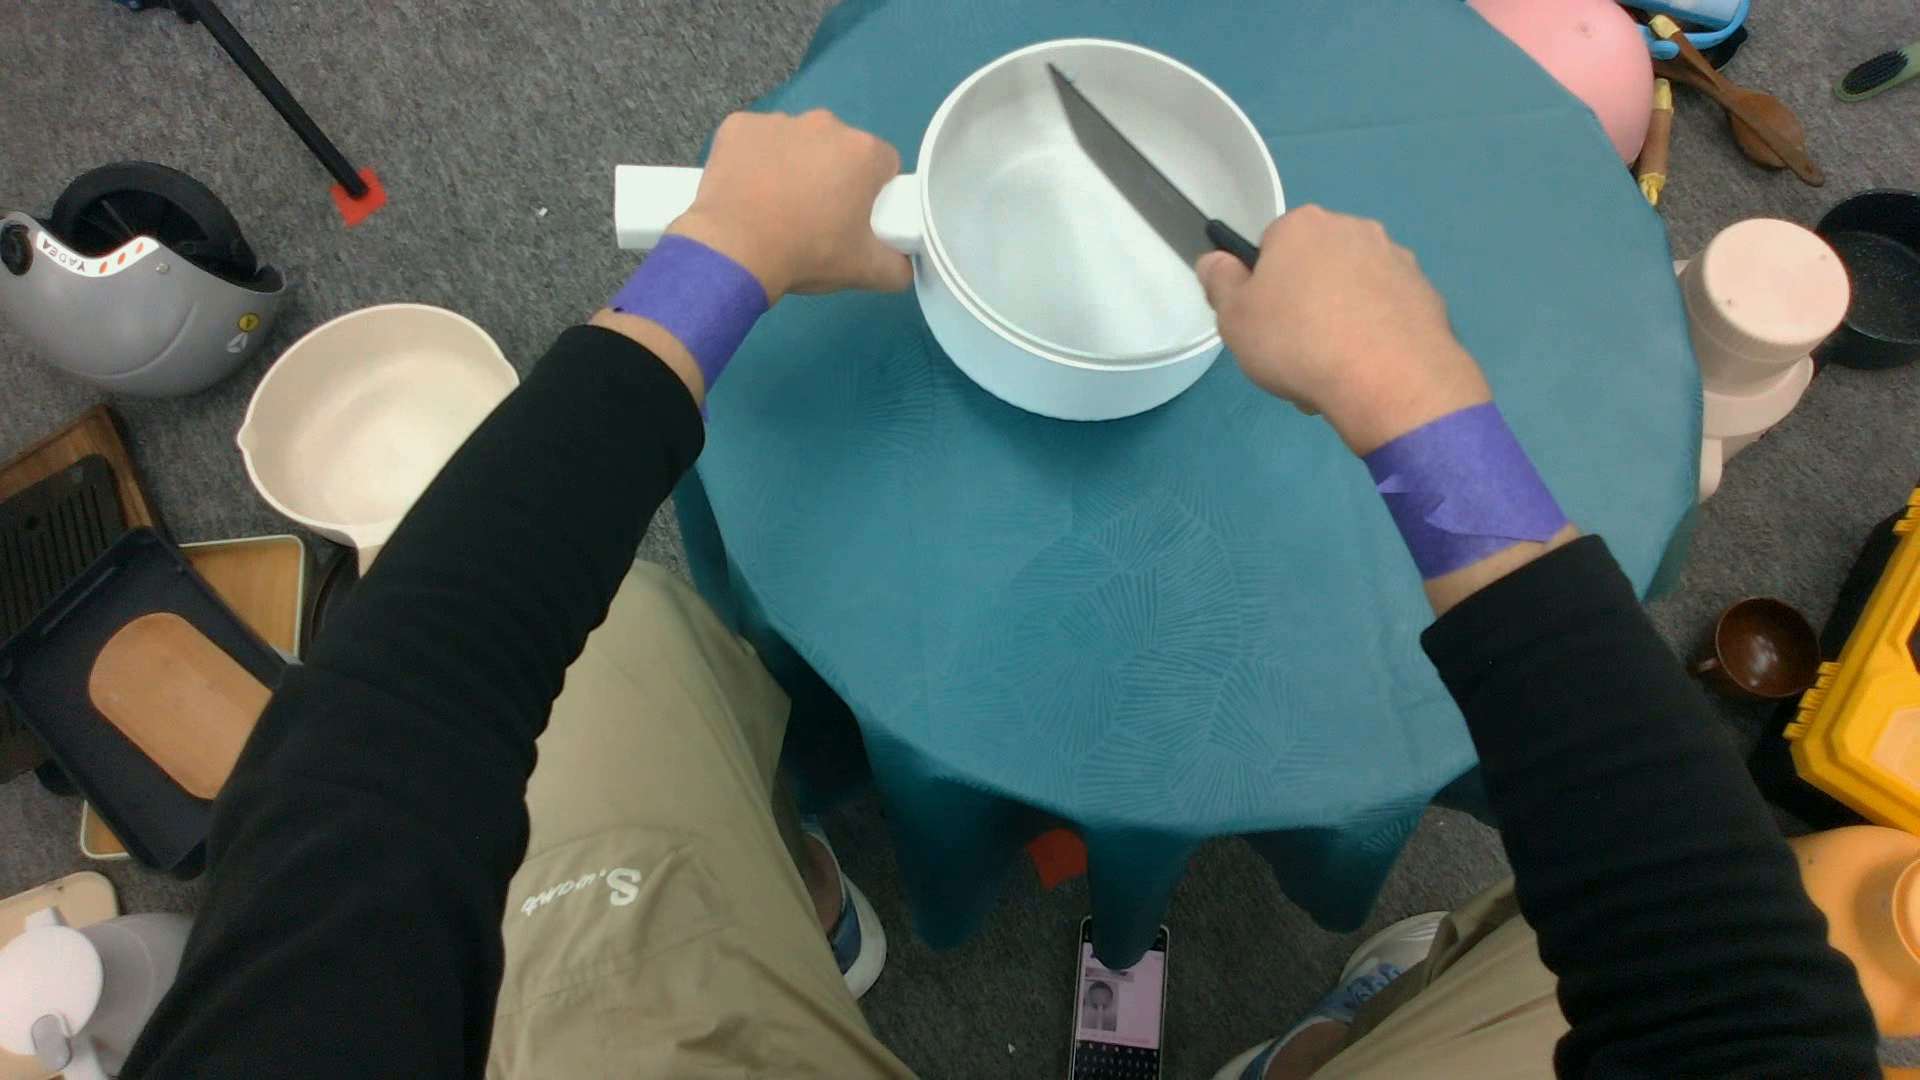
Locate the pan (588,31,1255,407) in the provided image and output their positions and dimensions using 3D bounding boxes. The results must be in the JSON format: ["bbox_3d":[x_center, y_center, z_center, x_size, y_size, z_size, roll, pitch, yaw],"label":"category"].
[{"bbox_3d":[-0.020,-0.173,0.769,0.355,0.102,0.202,-2,72,-8],"label":"pan"}]

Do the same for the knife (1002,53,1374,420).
[{"bbox_3d":[0.097,-0.148,0.655,0.021,0.081,0.303,-35,47,0],"label":"knife"}]
